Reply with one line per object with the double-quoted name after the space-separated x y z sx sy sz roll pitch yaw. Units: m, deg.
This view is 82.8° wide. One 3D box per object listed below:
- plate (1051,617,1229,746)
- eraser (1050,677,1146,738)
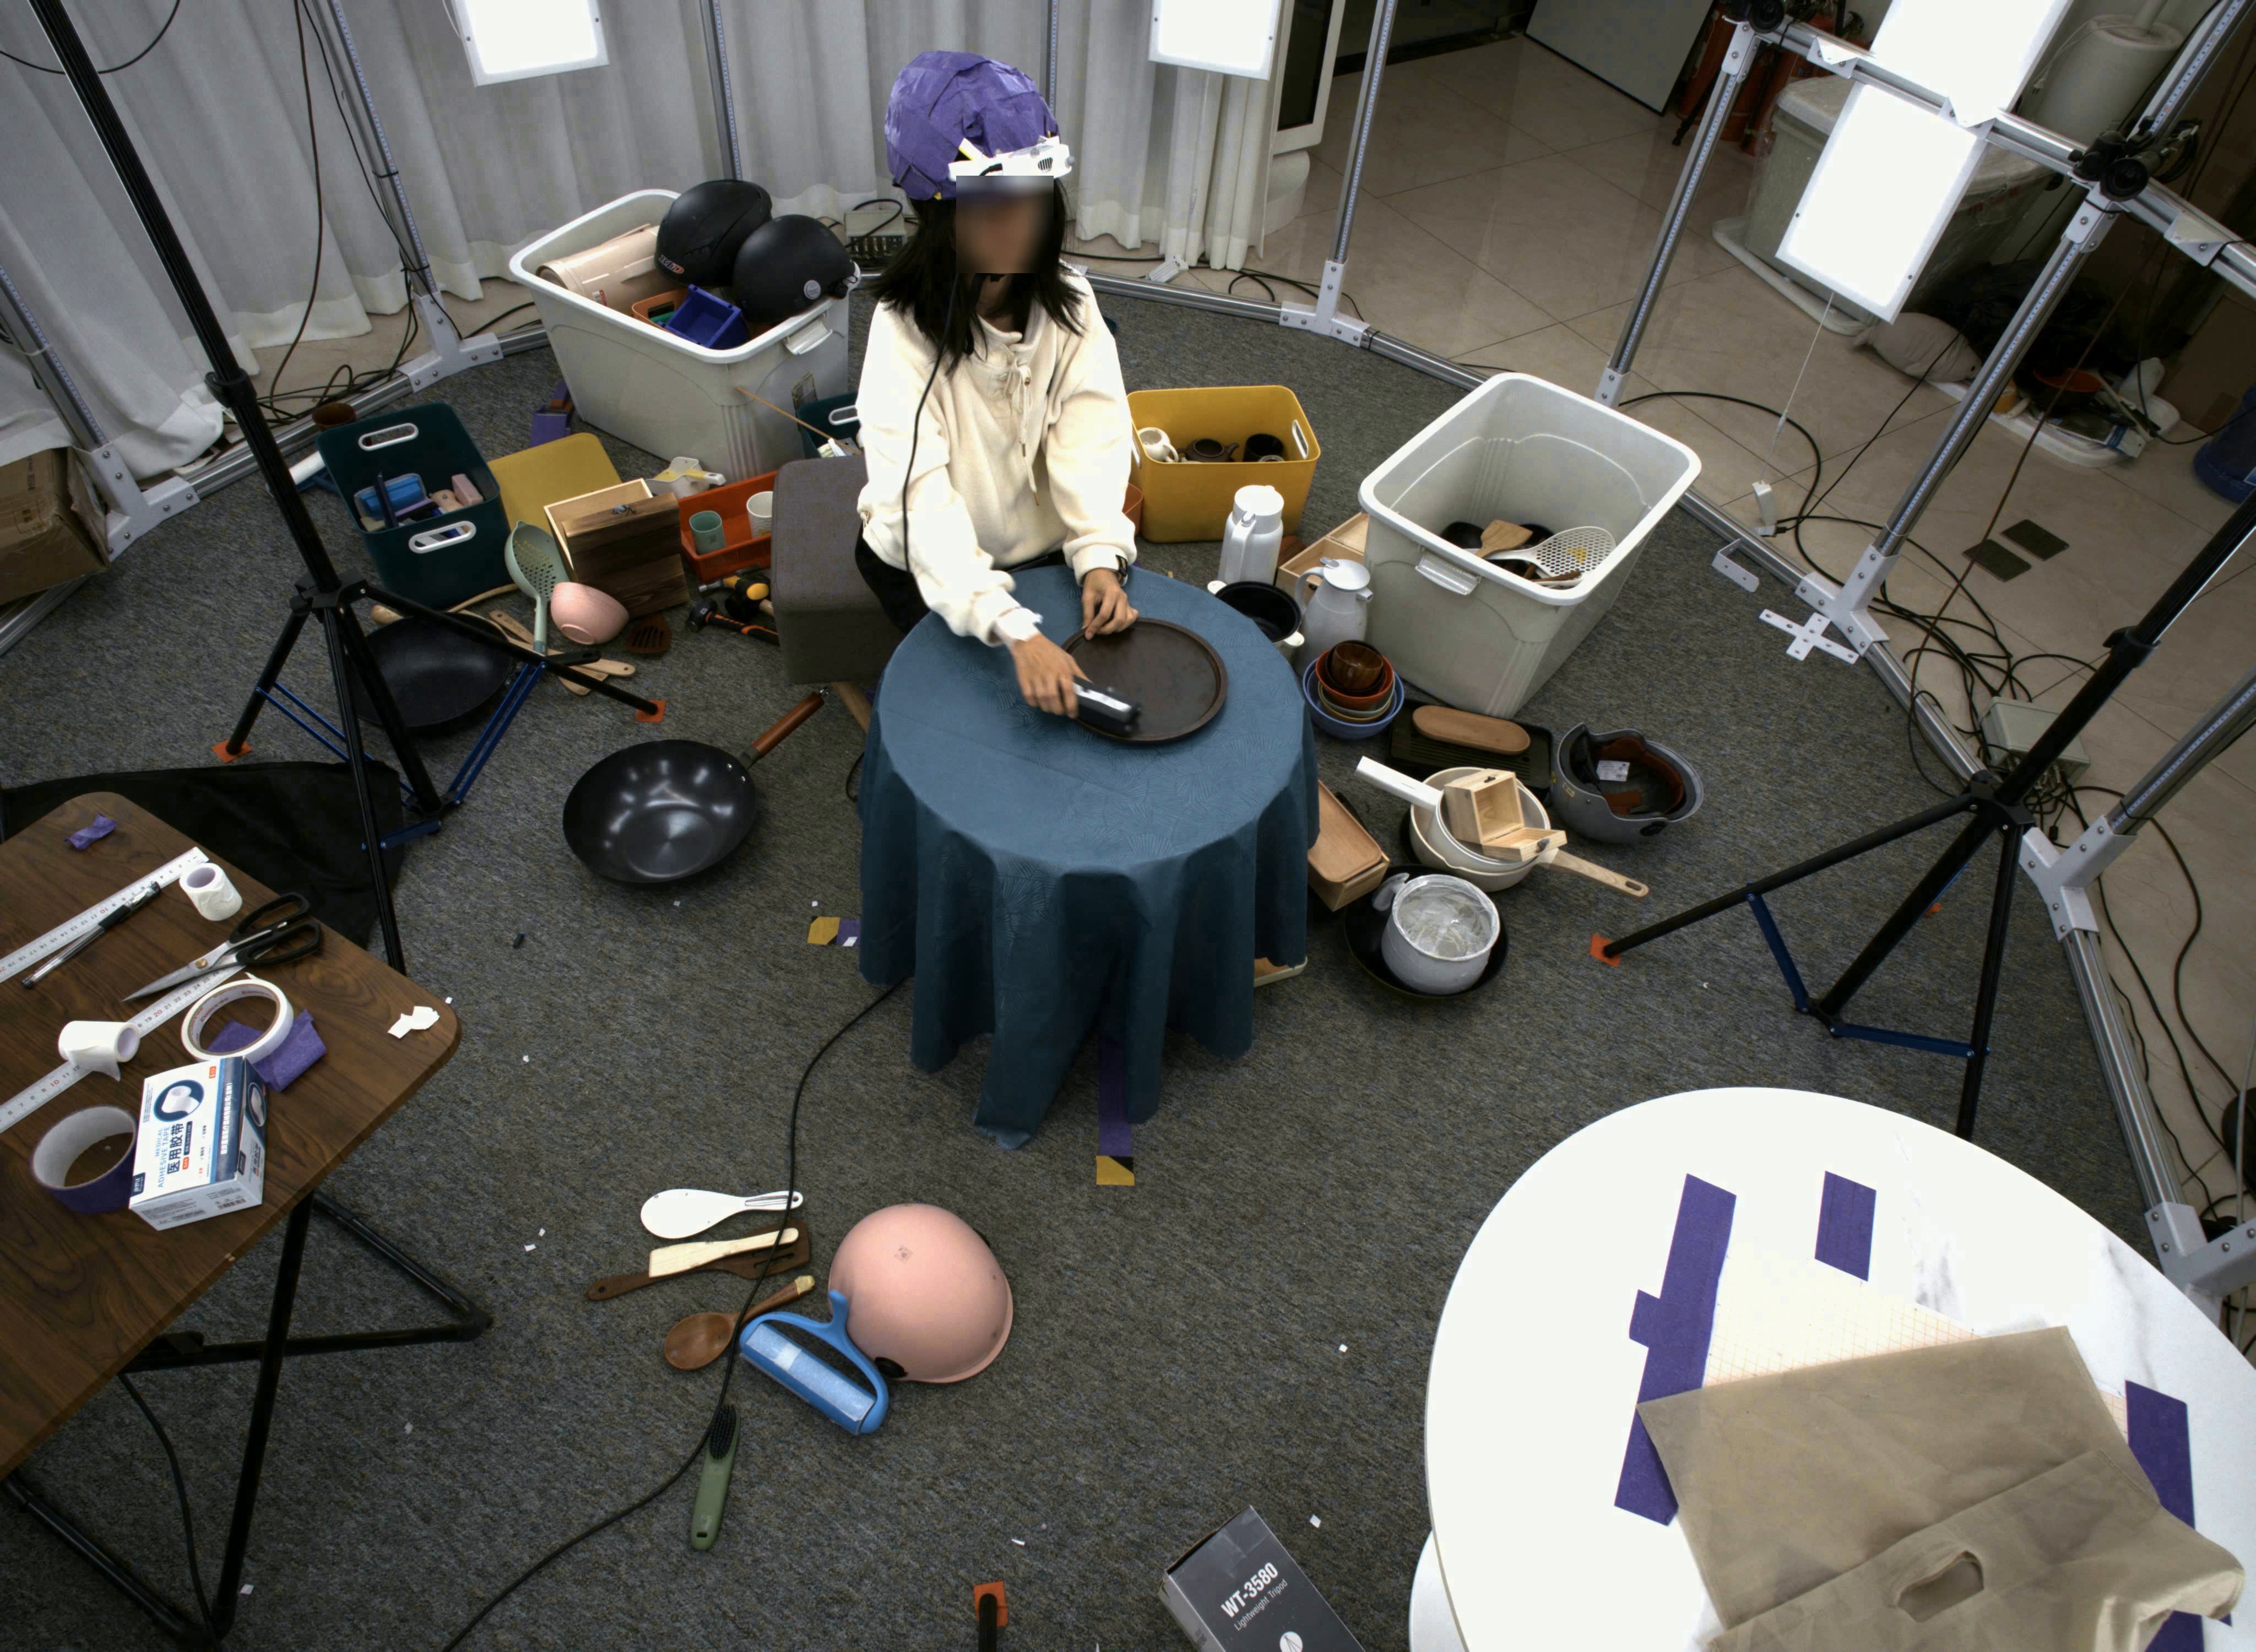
0.017 -0.209 1.837 0.254 0.028 0.261 2 50 -3 "plate"
-0.042 -0.164 1.767 0.126 0.030 0.054 22 43 16 "eraser"
